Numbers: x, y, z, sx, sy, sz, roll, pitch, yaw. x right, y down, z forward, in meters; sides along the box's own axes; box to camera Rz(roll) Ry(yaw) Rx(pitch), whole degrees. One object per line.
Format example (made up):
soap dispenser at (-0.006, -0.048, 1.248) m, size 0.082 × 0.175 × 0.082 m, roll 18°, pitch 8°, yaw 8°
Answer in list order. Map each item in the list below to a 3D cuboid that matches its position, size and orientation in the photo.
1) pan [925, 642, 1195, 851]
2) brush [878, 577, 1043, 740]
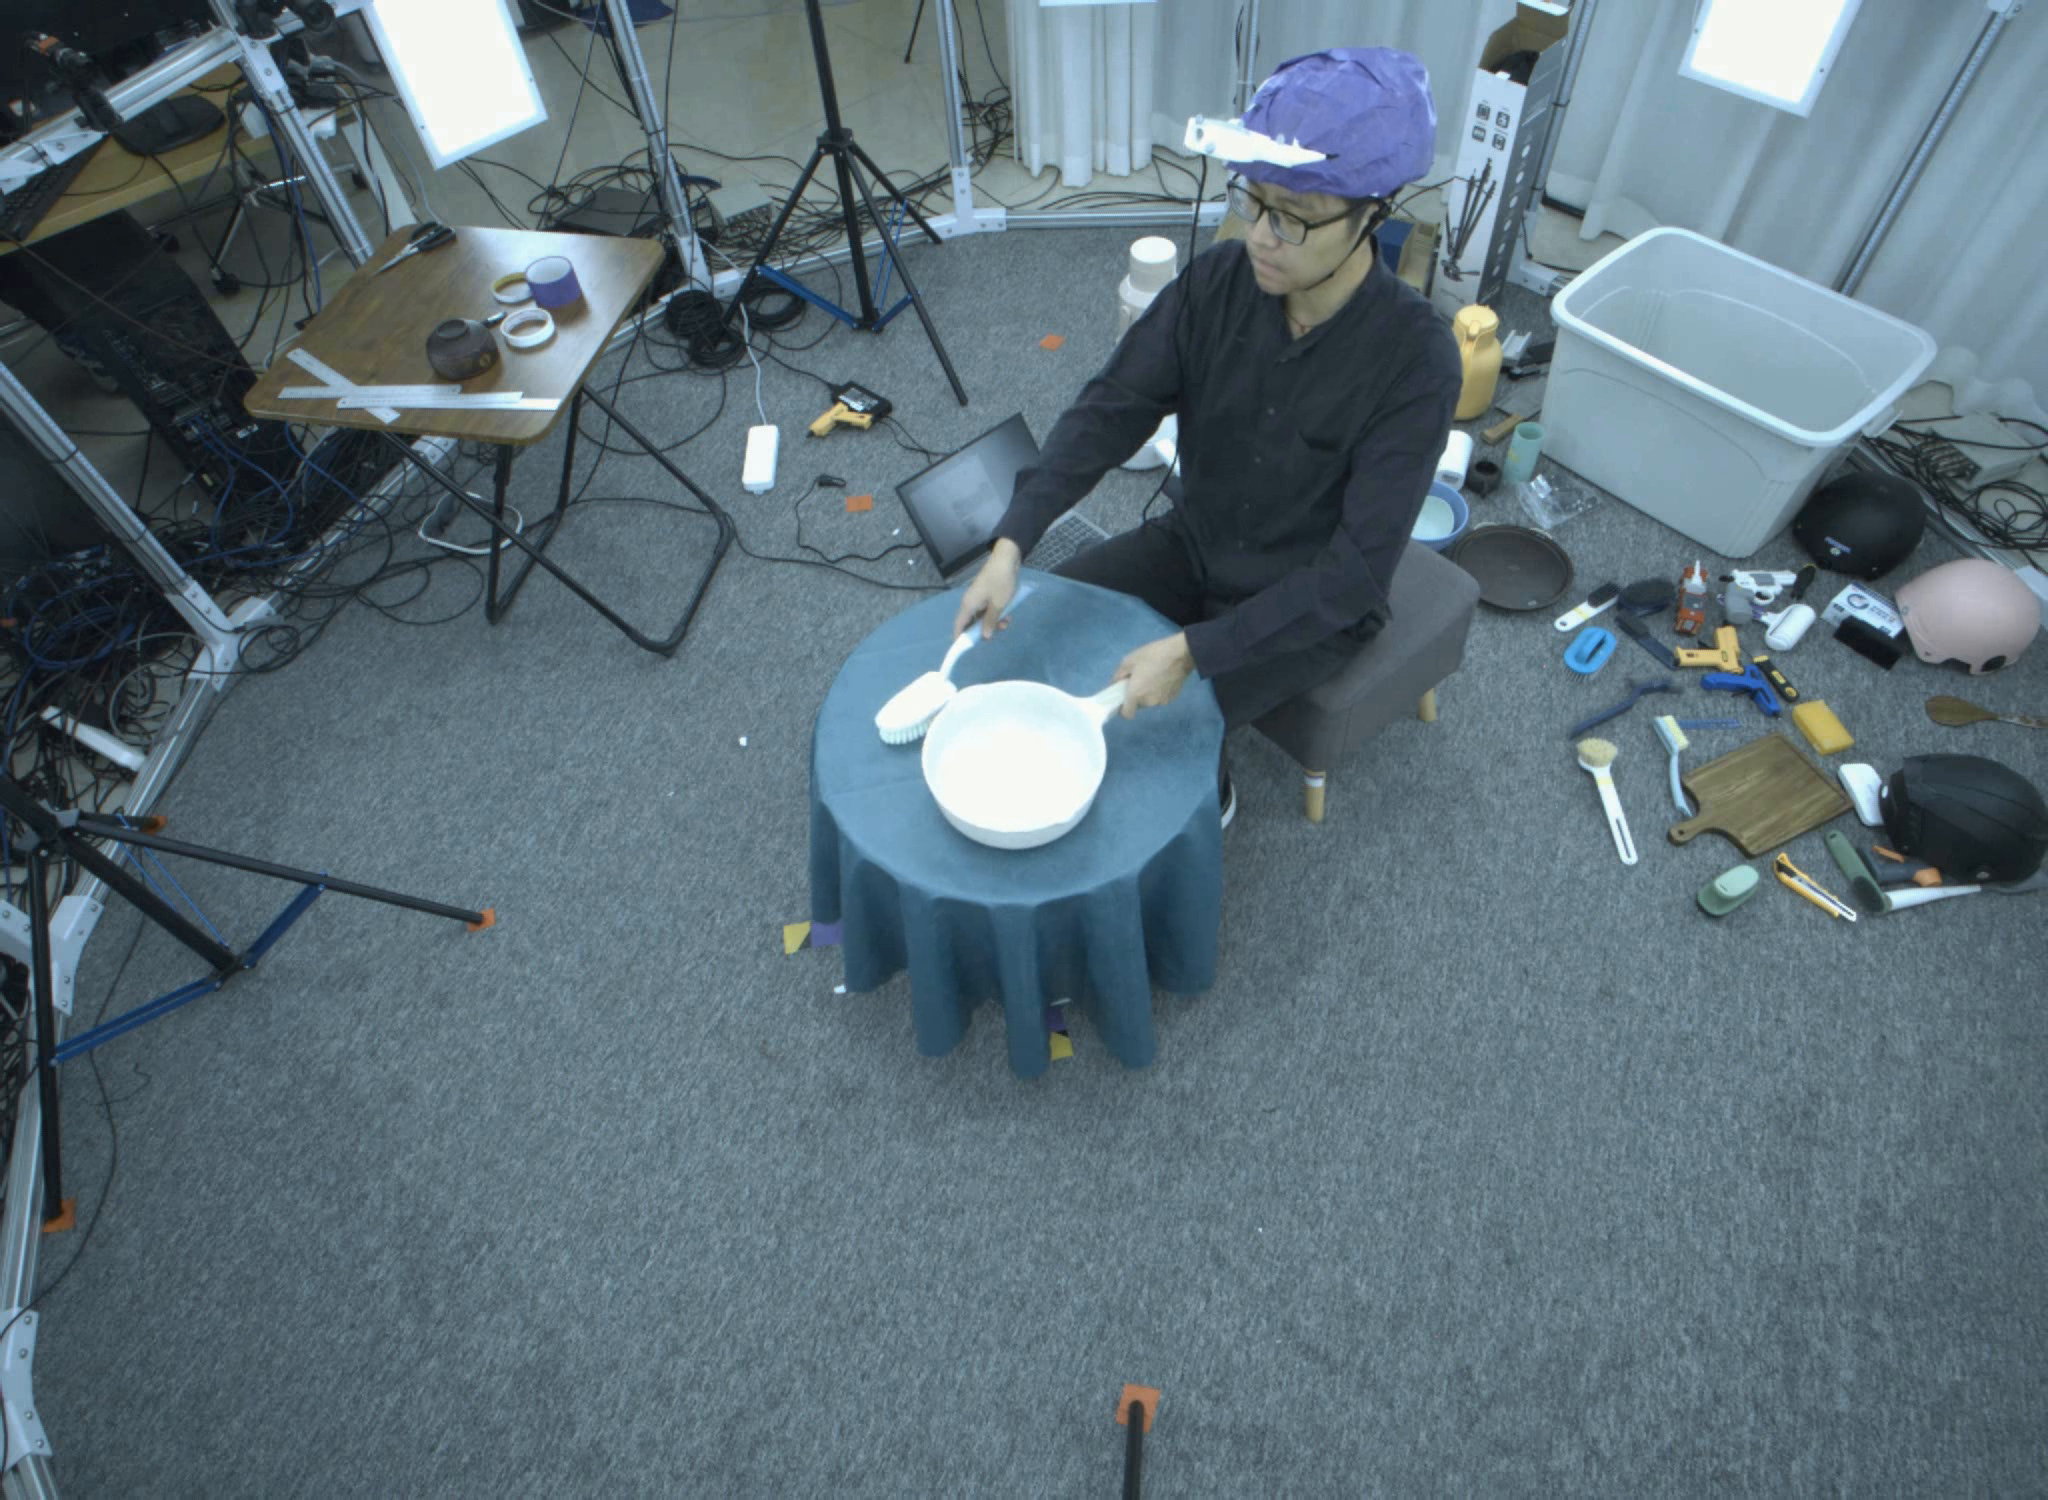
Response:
pan at (0.066, -0.018, 1.736) m, size 0.438 × 0.103 × 0.258 m, roll -30°, pitch 60°, yaw -20°
brush at (-0.082, -0.126, 1.823) m, size 0.326 × 0.084 × 0.083 m, roll -43°, pitch 95°, yaw -9°
